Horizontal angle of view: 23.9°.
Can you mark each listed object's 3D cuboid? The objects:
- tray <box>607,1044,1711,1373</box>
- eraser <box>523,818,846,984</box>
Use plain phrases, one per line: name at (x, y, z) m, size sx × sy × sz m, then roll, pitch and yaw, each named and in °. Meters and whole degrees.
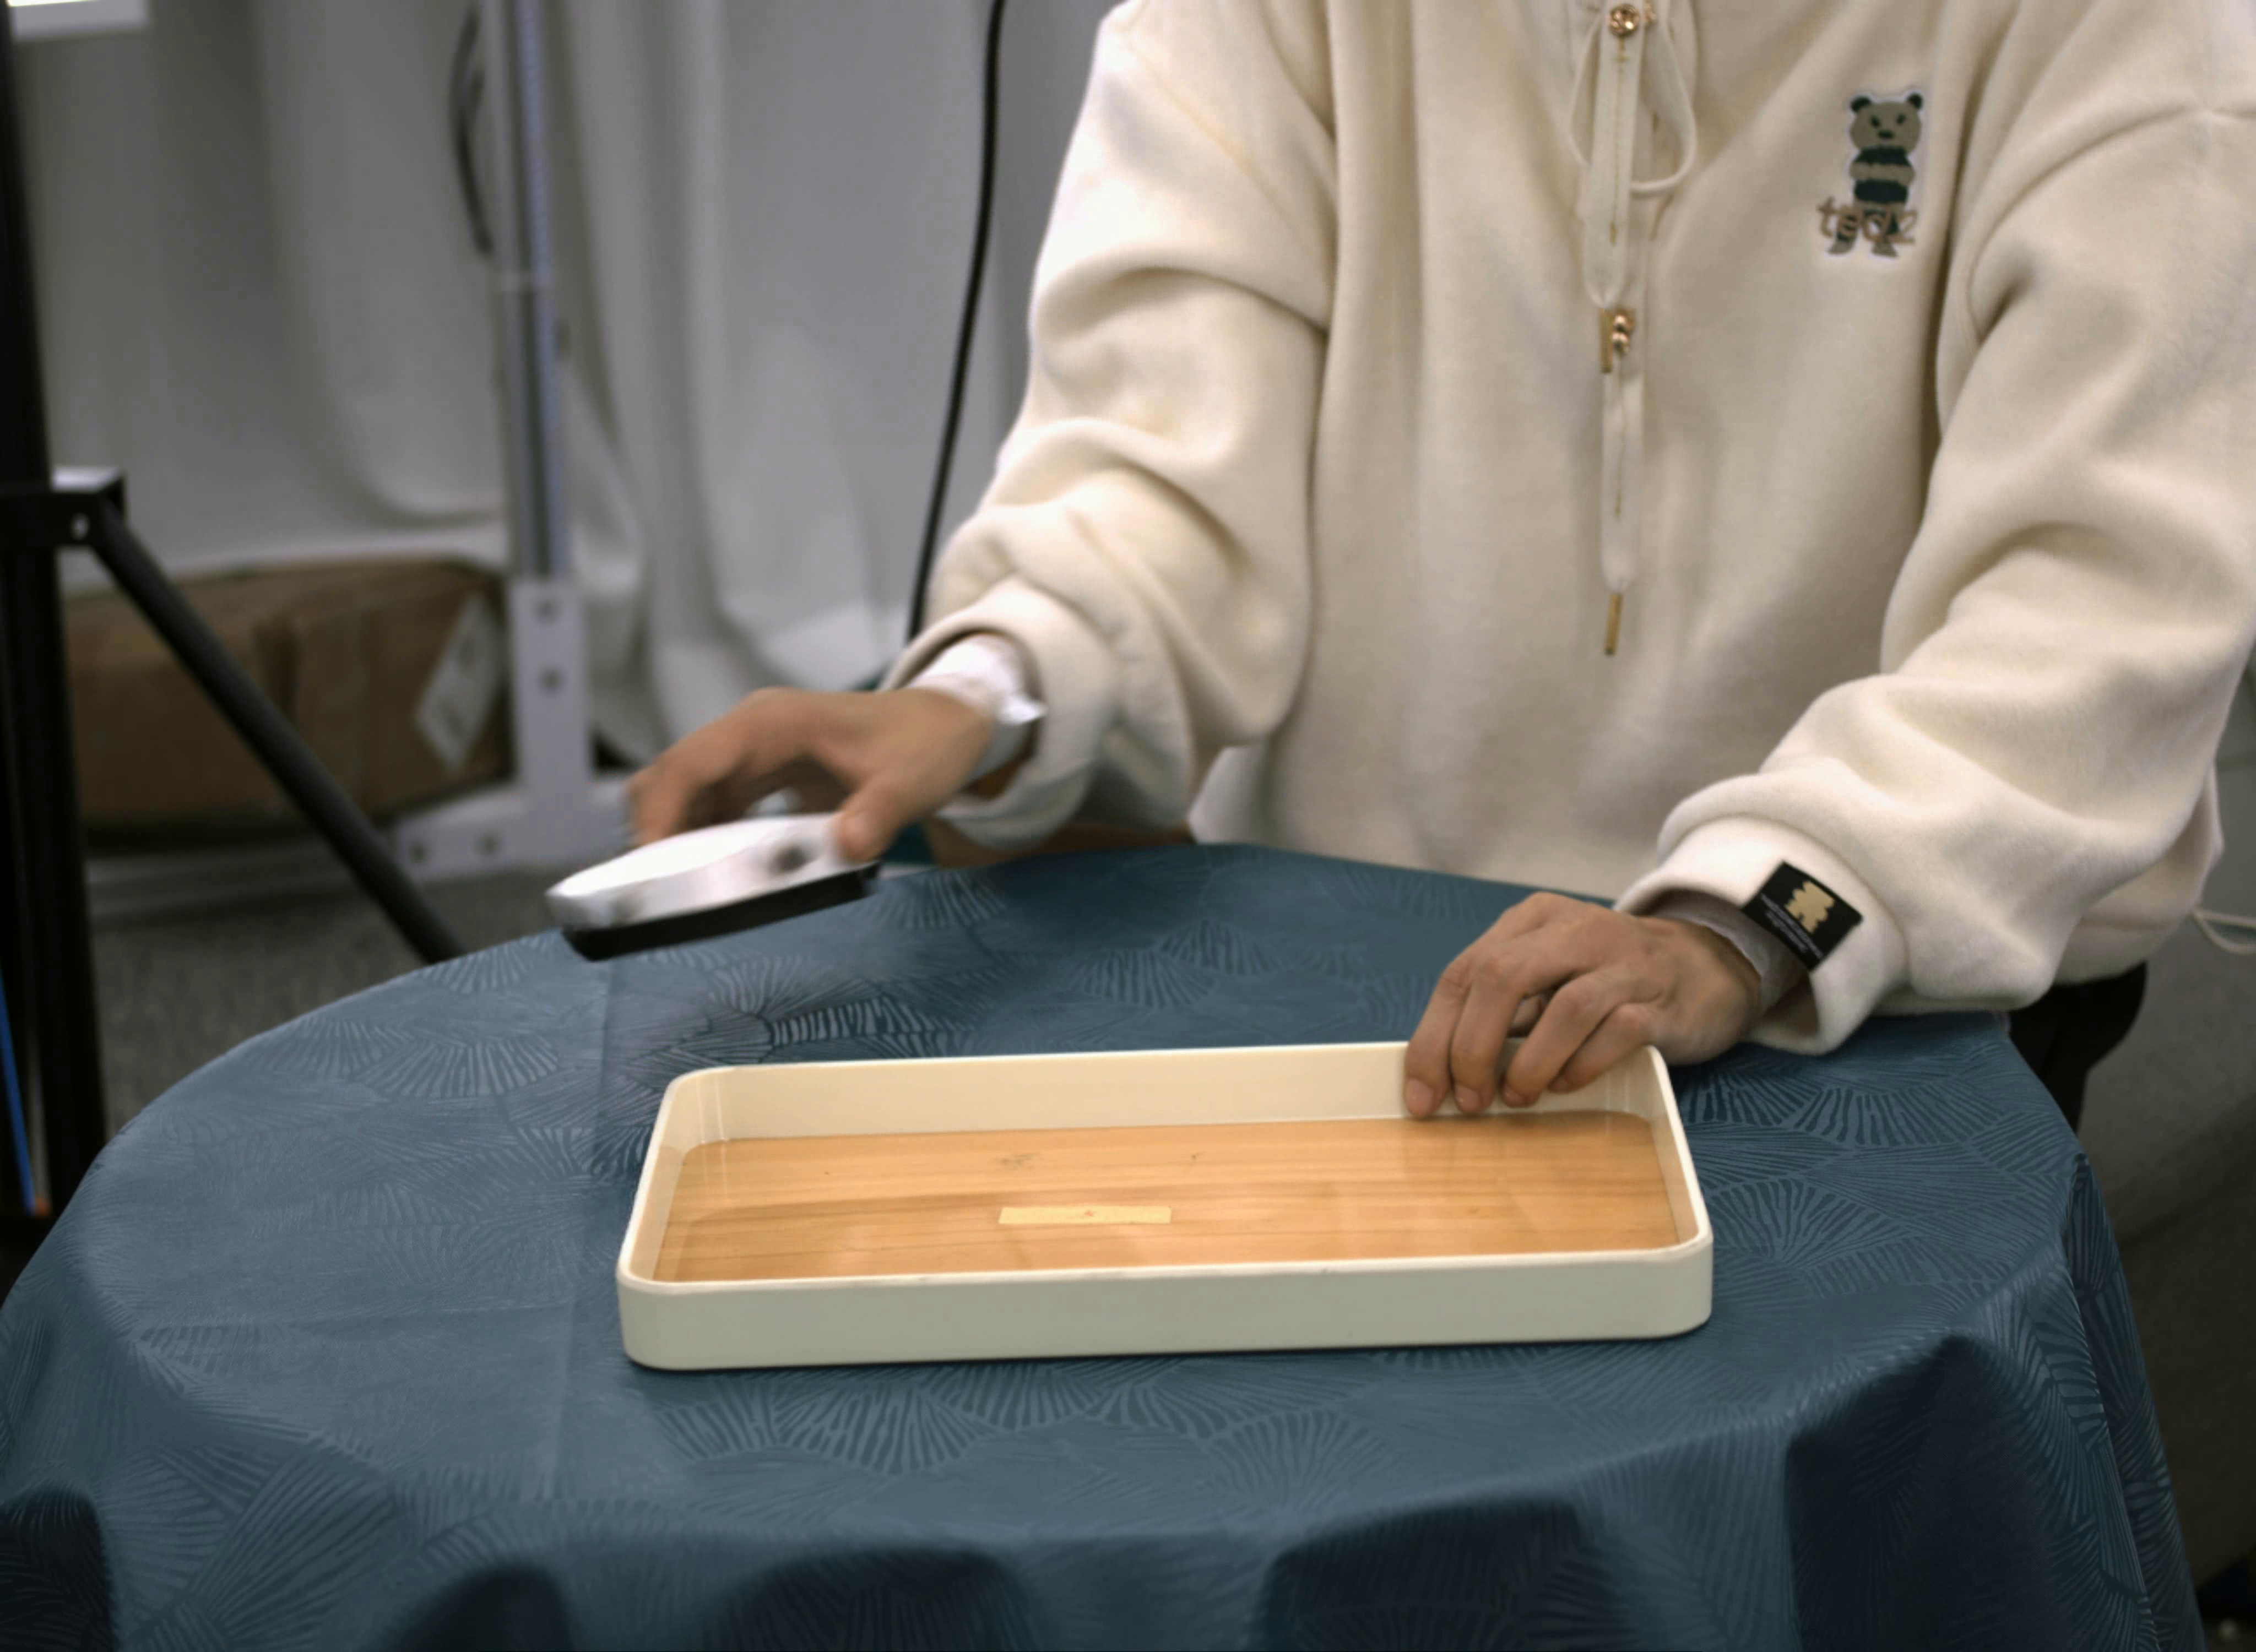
tray at (0.010, 0.107, 1.509) m, size 0.300 × 0.027 × 0.192 m, roll -2°, pitch 16°, yaw 4°
eraser at (-0.135, 0.022, 1.664) m, size 0.064 × 0.034 × 0.129 m, roll -10°, pitch 4°, yaw 23°
